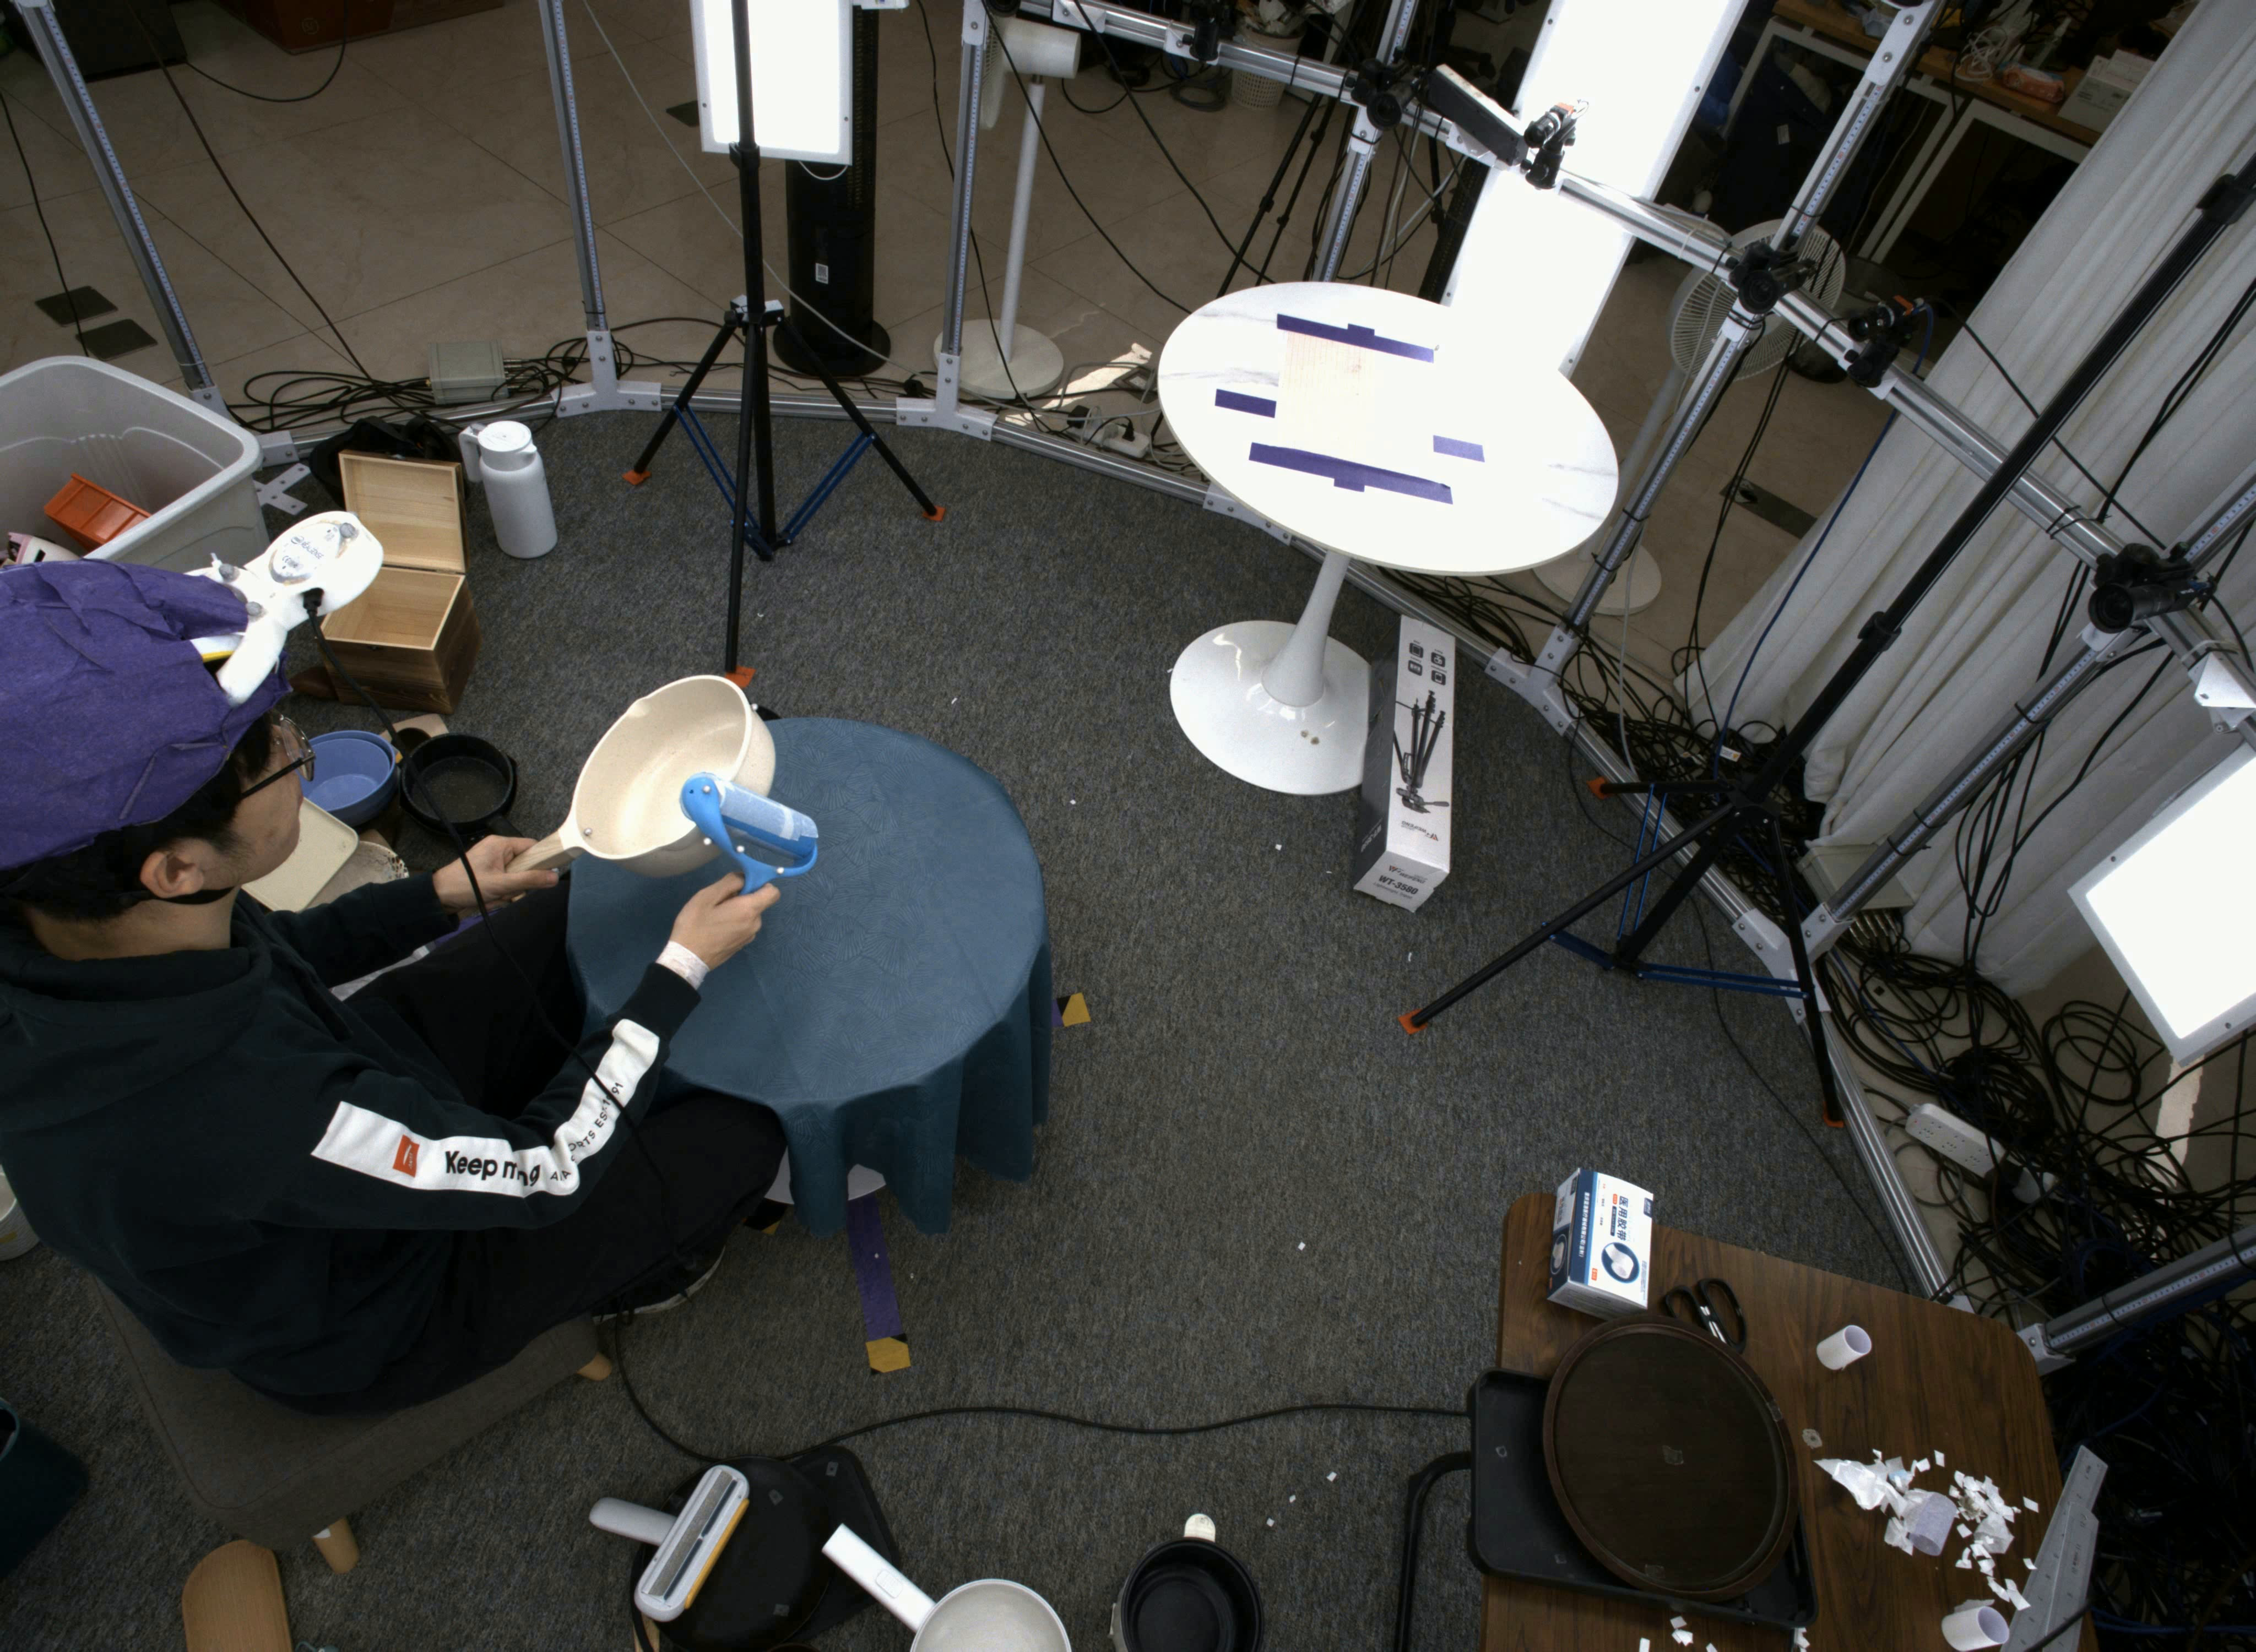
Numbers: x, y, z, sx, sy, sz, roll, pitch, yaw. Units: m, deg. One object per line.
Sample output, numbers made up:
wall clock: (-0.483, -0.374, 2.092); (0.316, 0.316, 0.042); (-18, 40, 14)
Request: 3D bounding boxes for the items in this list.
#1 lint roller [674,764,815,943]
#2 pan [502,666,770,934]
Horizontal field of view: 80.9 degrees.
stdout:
lint roller: (-0.425, 0.042, 1.397); (0.066, 0.233, 0.181); (12, 84, 18)
pan: (-0.597, -0.004, 1.484); (0.434, 0.106, 0.254); (-39, 52, 0)
